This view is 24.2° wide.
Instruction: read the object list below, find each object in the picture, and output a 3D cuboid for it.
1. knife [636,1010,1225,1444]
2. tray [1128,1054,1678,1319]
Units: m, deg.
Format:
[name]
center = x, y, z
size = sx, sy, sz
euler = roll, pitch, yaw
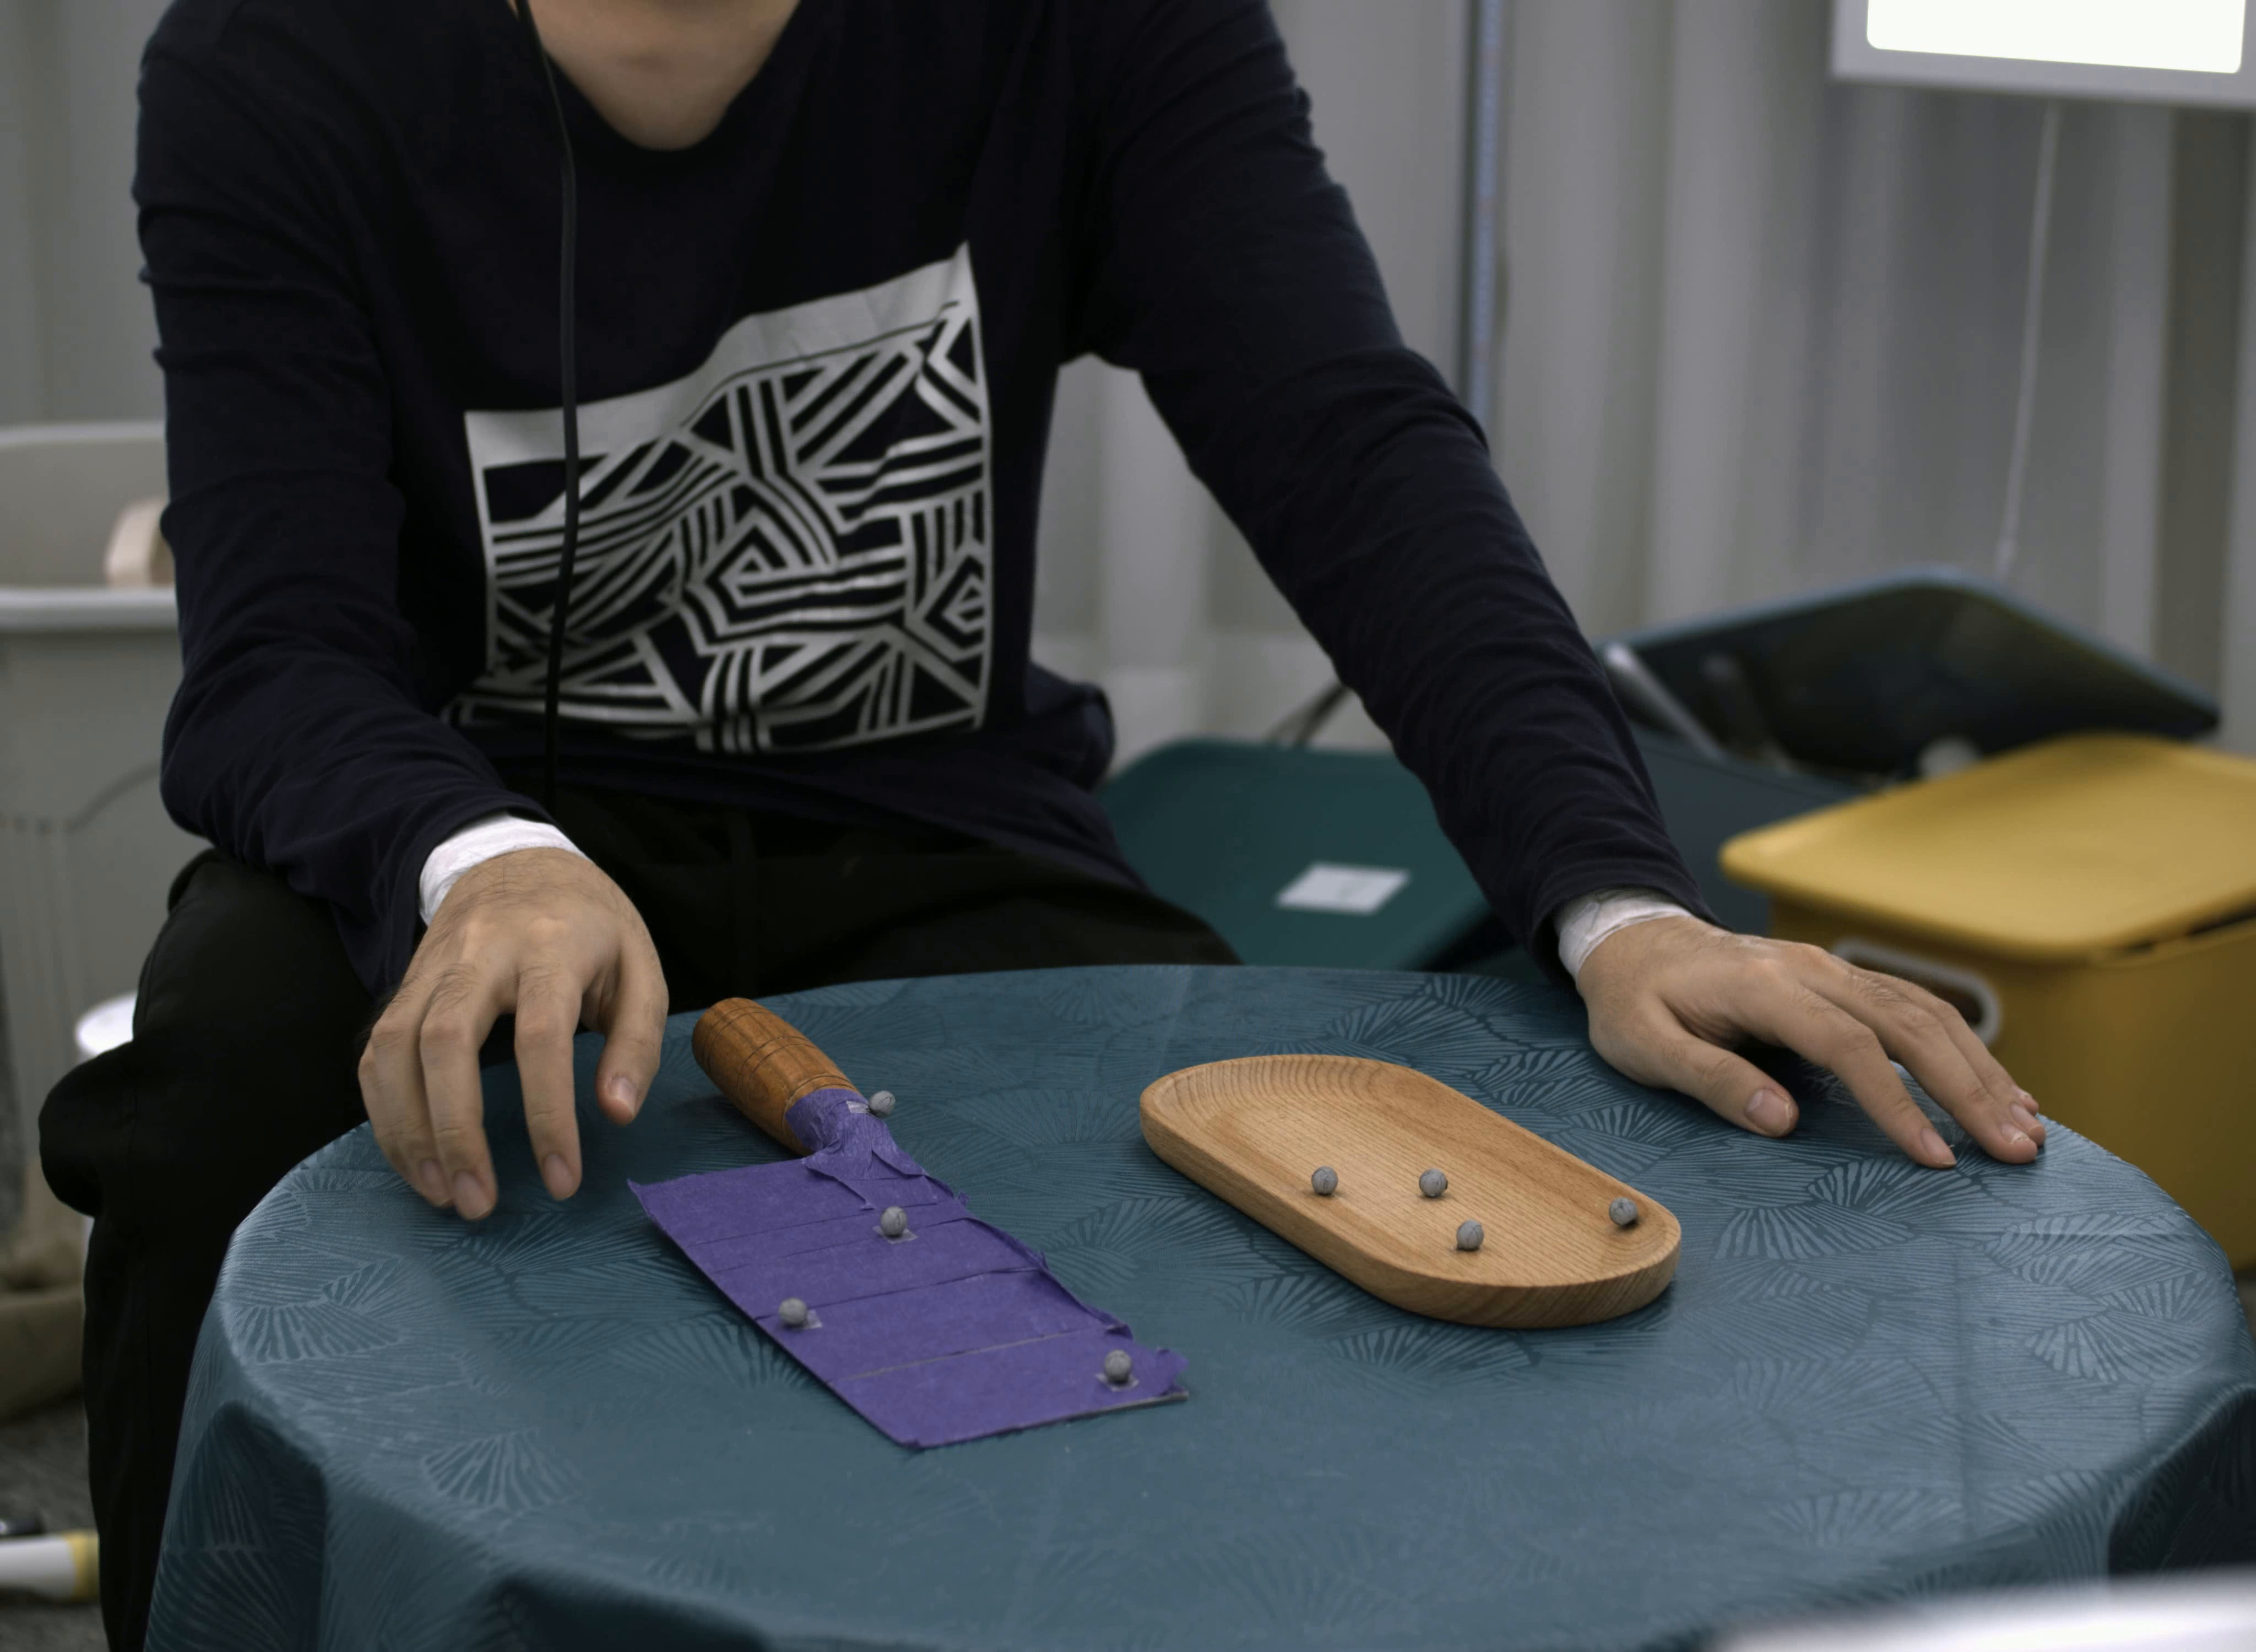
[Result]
[knife]
center = -0.088, 0.115, 1.563
size = 0.104, 0.032, 0.311
euler = -7, 18, -27
[tray]
center = 0.081, 0.108, 1.613
size = 0.102, 0.020, 0.228
euler = -7, 15, -28
